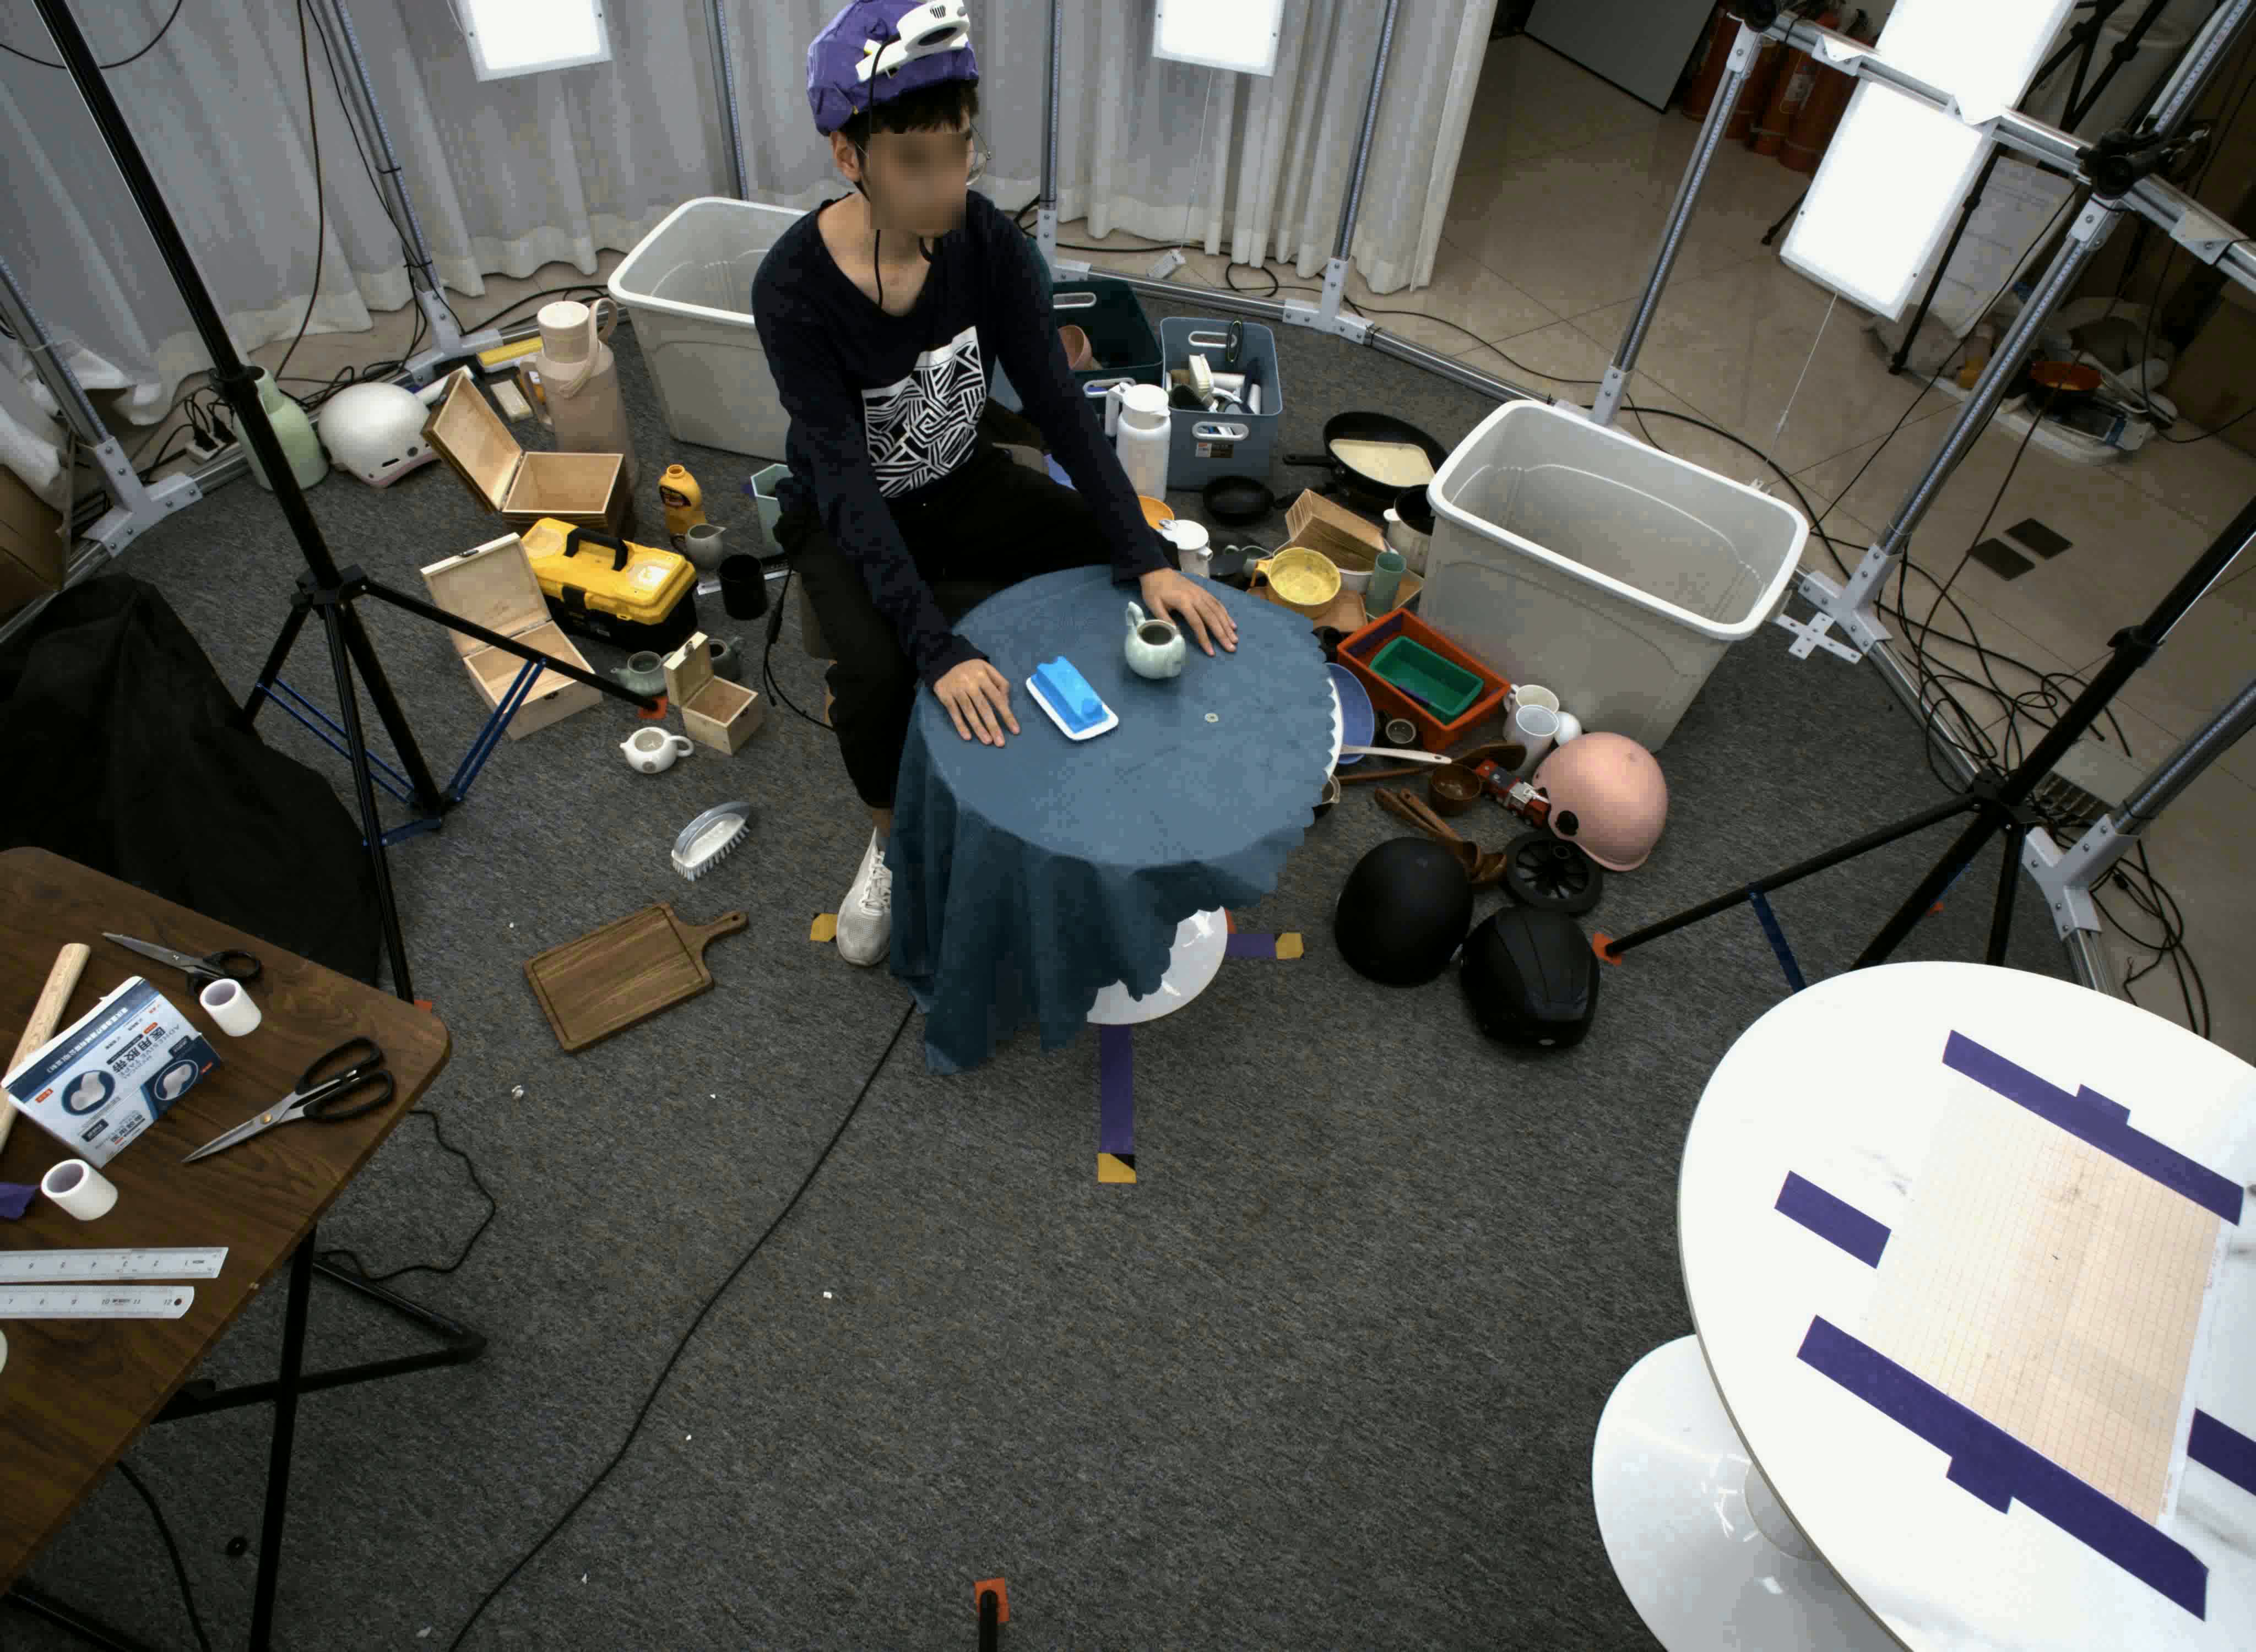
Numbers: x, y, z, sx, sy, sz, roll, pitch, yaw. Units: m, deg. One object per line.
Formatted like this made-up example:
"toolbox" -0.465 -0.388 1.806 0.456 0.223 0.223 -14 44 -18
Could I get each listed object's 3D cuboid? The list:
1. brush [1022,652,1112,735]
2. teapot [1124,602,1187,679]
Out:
"brush" -0.083 -0.192 1.789 0.084 0.054 0.147 -20 55 -24
"teapot" 0.039 -0.254 1.845 0.088 0.073 0.147 -22 56 -21
